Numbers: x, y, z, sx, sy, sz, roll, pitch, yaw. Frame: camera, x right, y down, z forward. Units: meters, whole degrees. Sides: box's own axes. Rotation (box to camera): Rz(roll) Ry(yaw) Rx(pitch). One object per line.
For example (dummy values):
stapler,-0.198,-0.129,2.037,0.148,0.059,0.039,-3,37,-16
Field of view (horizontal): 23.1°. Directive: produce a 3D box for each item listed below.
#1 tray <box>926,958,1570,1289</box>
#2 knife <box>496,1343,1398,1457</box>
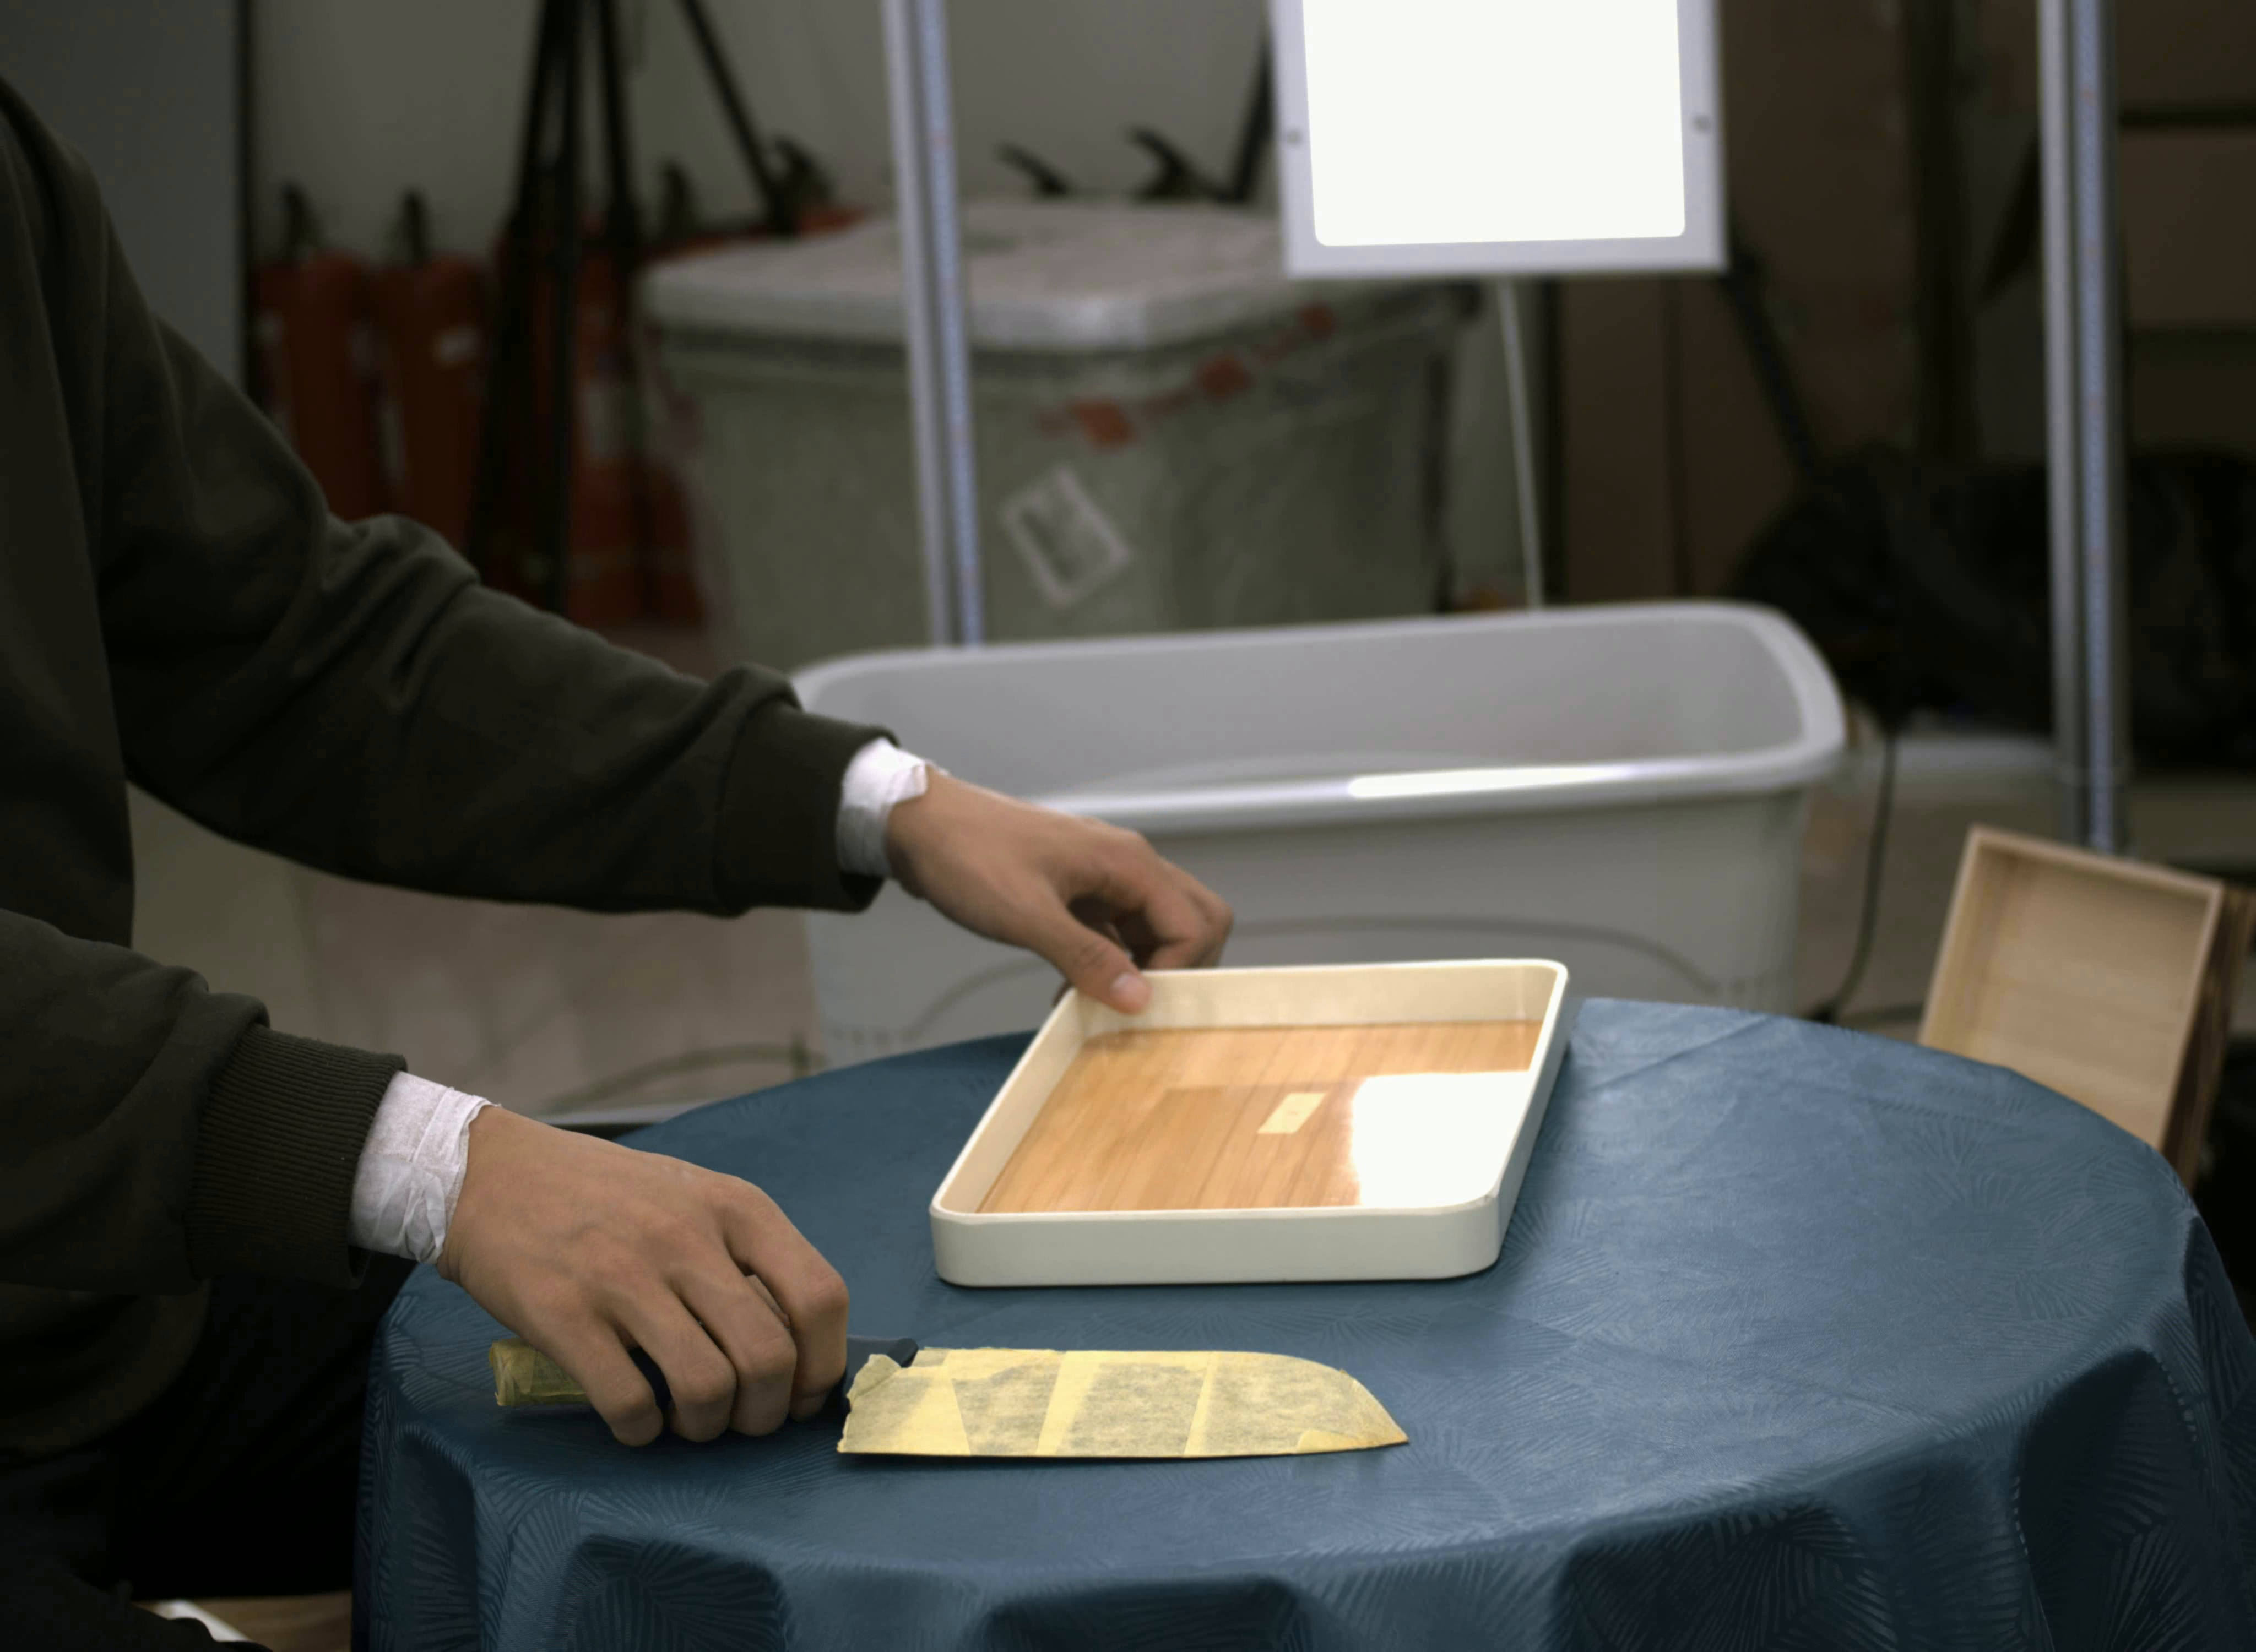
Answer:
tray,0.049,0.101,1.932,0.193,0.027,0.297,-3,13,12
knife,-0.059,0.177,1.688,0.292,0.027,0.080,-1,16,14
